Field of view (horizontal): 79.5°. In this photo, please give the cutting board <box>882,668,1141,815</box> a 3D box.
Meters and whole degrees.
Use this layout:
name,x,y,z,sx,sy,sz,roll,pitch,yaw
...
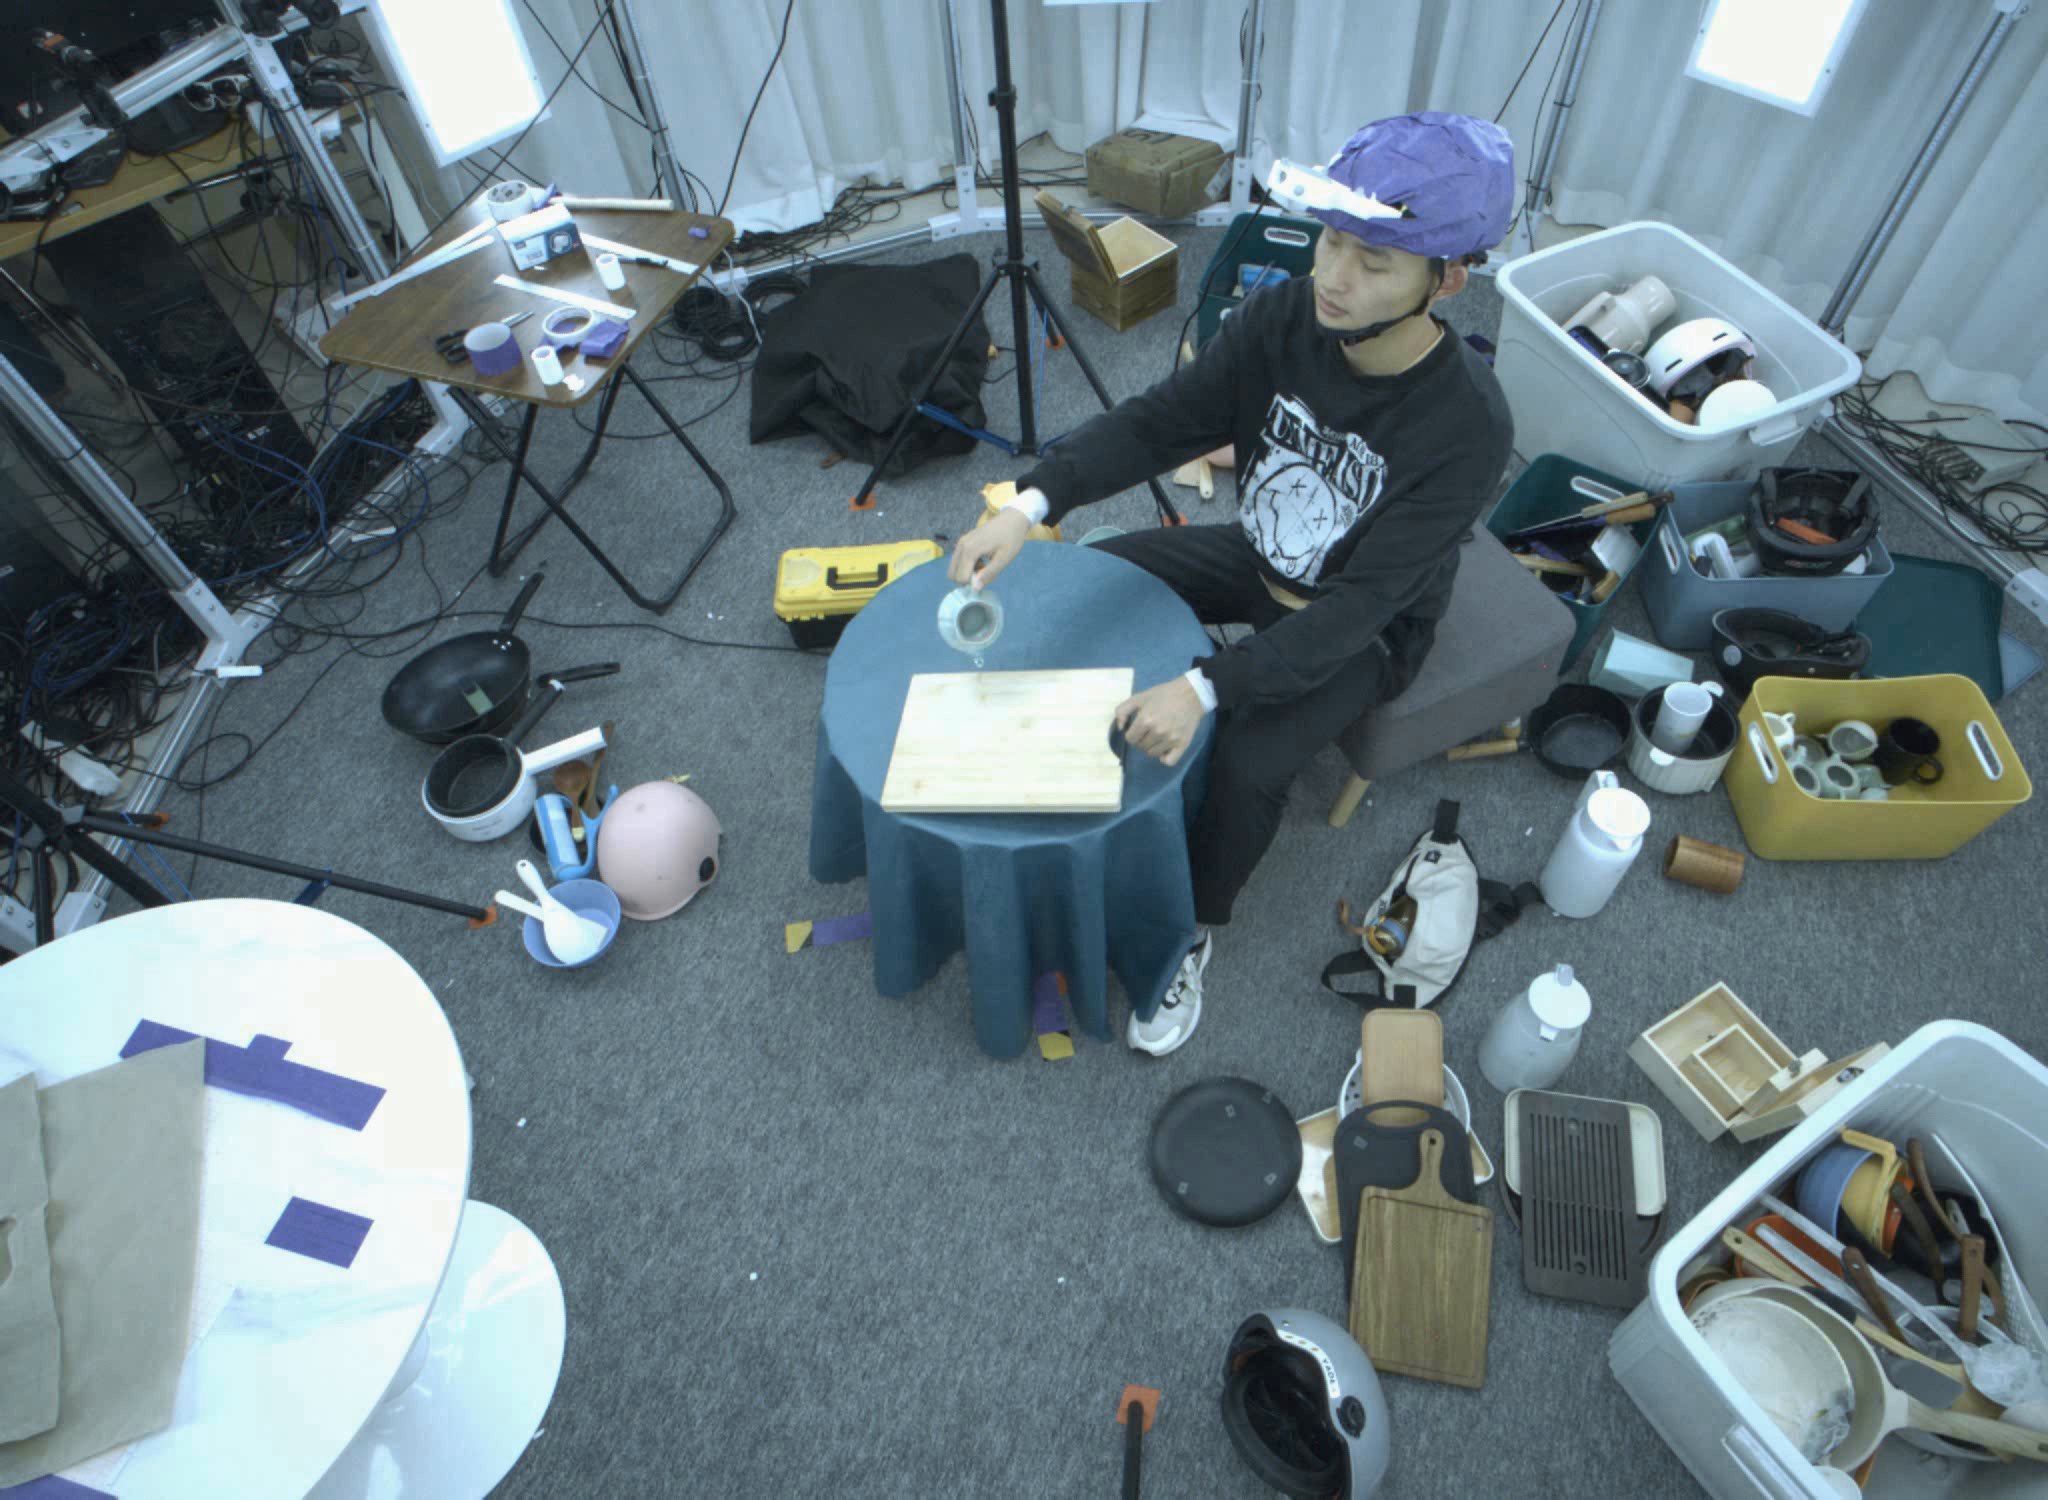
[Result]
name,x,y,z,sx,sy,sz,roll,pitch,yaw
cutting board,-0.015,-0.015,1.752,0.346,0.024,0.249,-1,54,12

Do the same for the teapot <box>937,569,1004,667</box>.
name,x,y,z,sx,sy,sz,roll,pitch,yaw
teapot,-0.074,-0.188,1.732,0.097,0.138,0.060,-9,16,-12
